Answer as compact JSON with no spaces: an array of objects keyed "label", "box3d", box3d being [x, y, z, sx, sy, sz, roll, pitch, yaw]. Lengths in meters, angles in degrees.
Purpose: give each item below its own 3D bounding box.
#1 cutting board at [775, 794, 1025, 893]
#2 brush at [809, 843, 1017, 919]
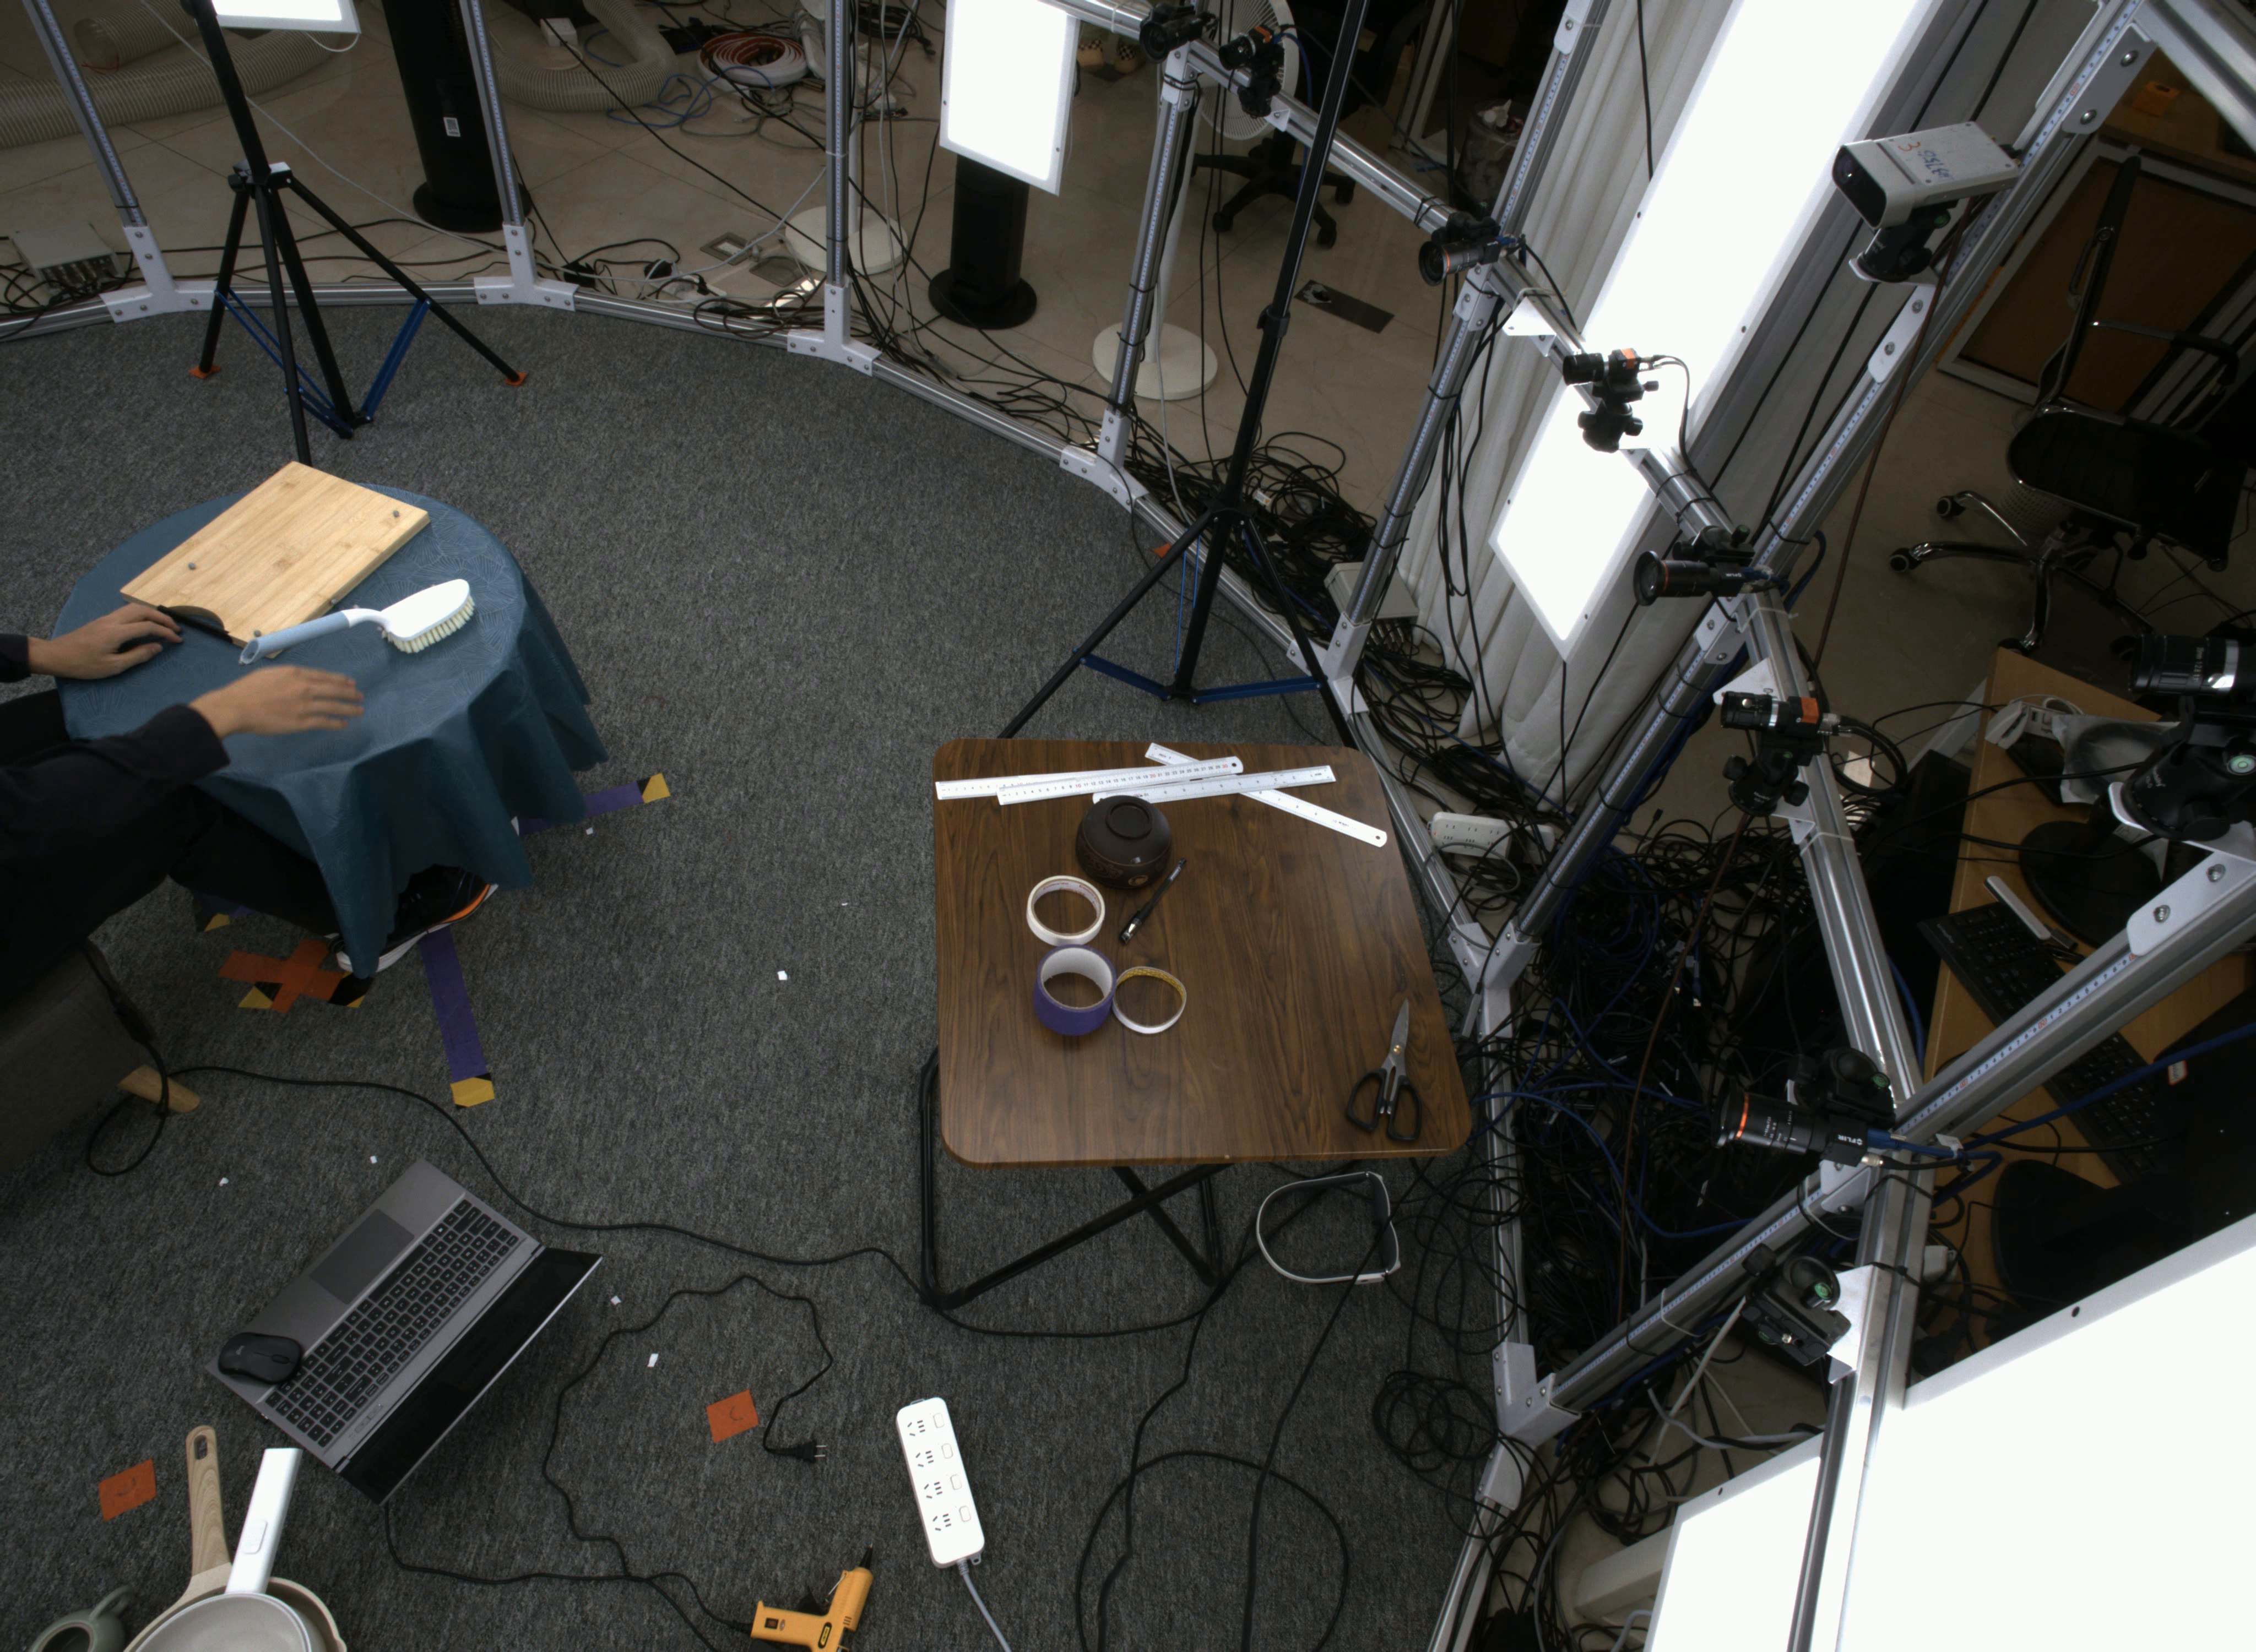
[{"label":"cutting board","box3d":[-0.377,0.022,2.175,0.353,0.024,0.241,-13,30,-40]},{"label":"brush","box3d":[-0.321,0.091,1.946,0.330,0.084,0.082,9,-17,-26]}]
